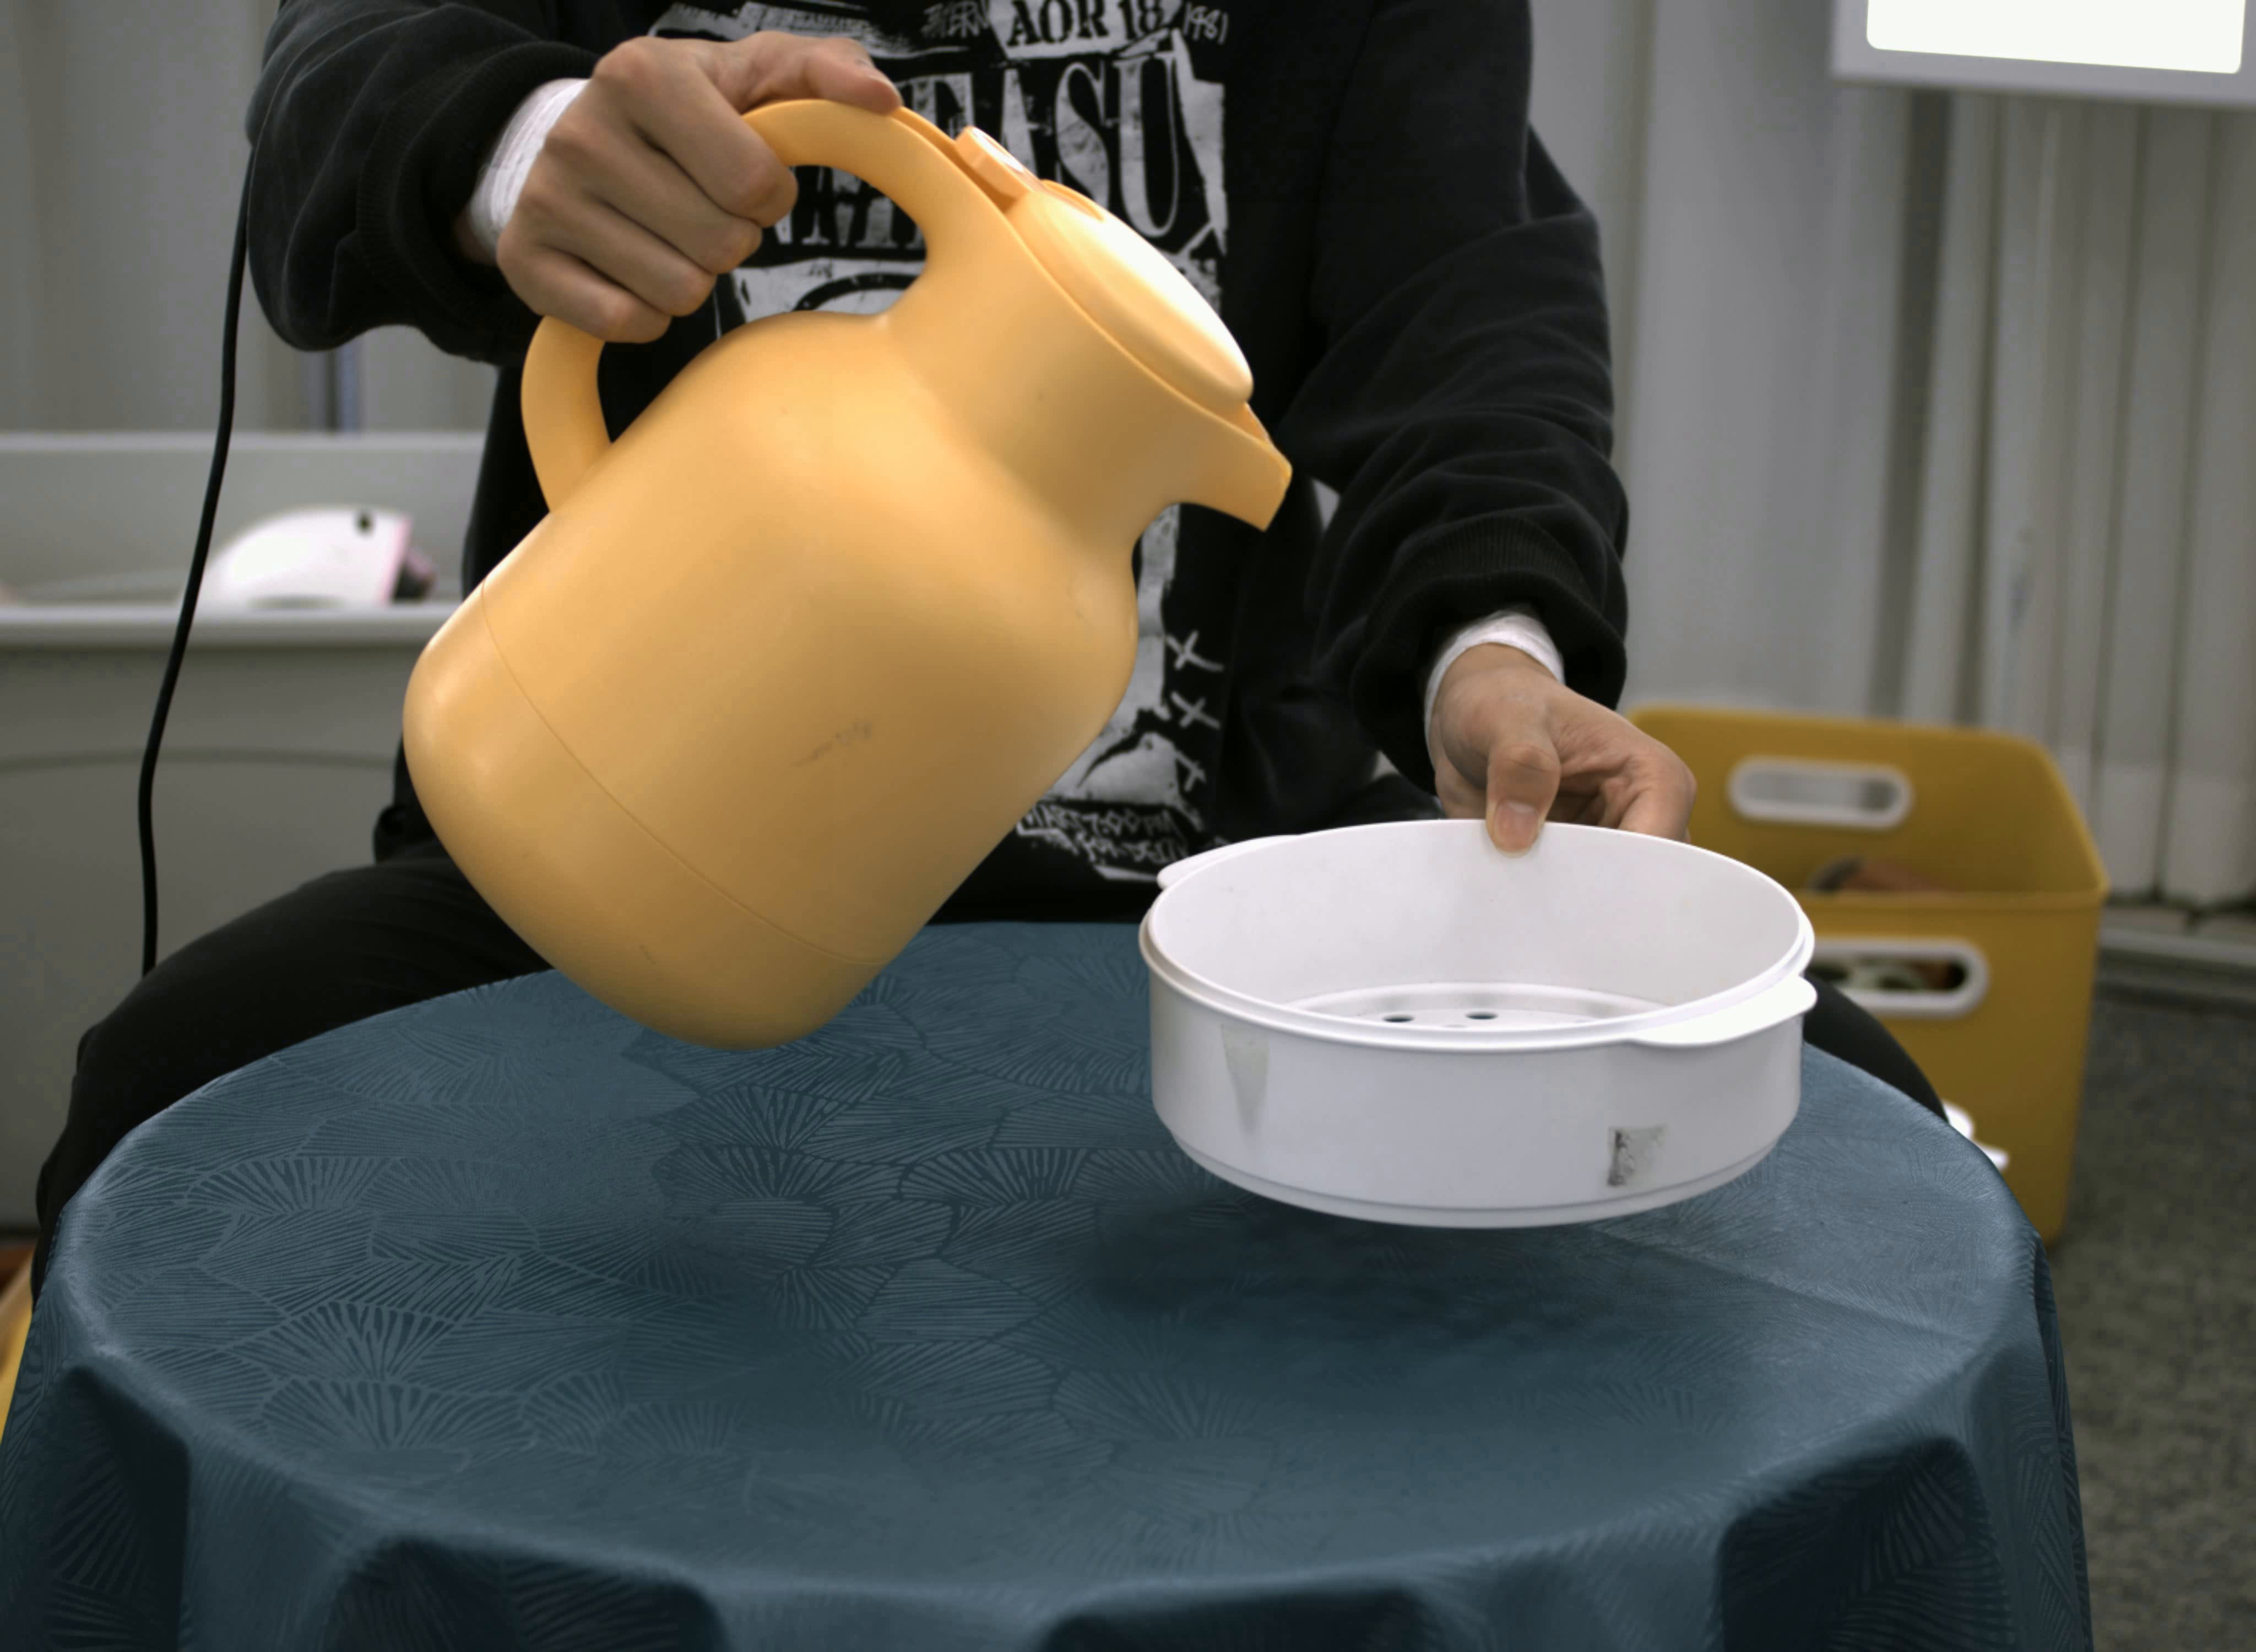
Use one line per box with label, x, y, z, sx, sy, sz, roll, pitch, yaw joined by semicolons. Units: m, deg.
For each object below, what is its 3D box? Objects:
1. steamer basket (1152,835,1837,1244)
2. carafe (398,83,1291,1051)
steamer basket;0.108;0.063;1.563;0.203;0.070;0.227;-17;24;-41
carafe;-0.093;-0.082;1.516;0.203;0.260;0.163;44;14;-3
